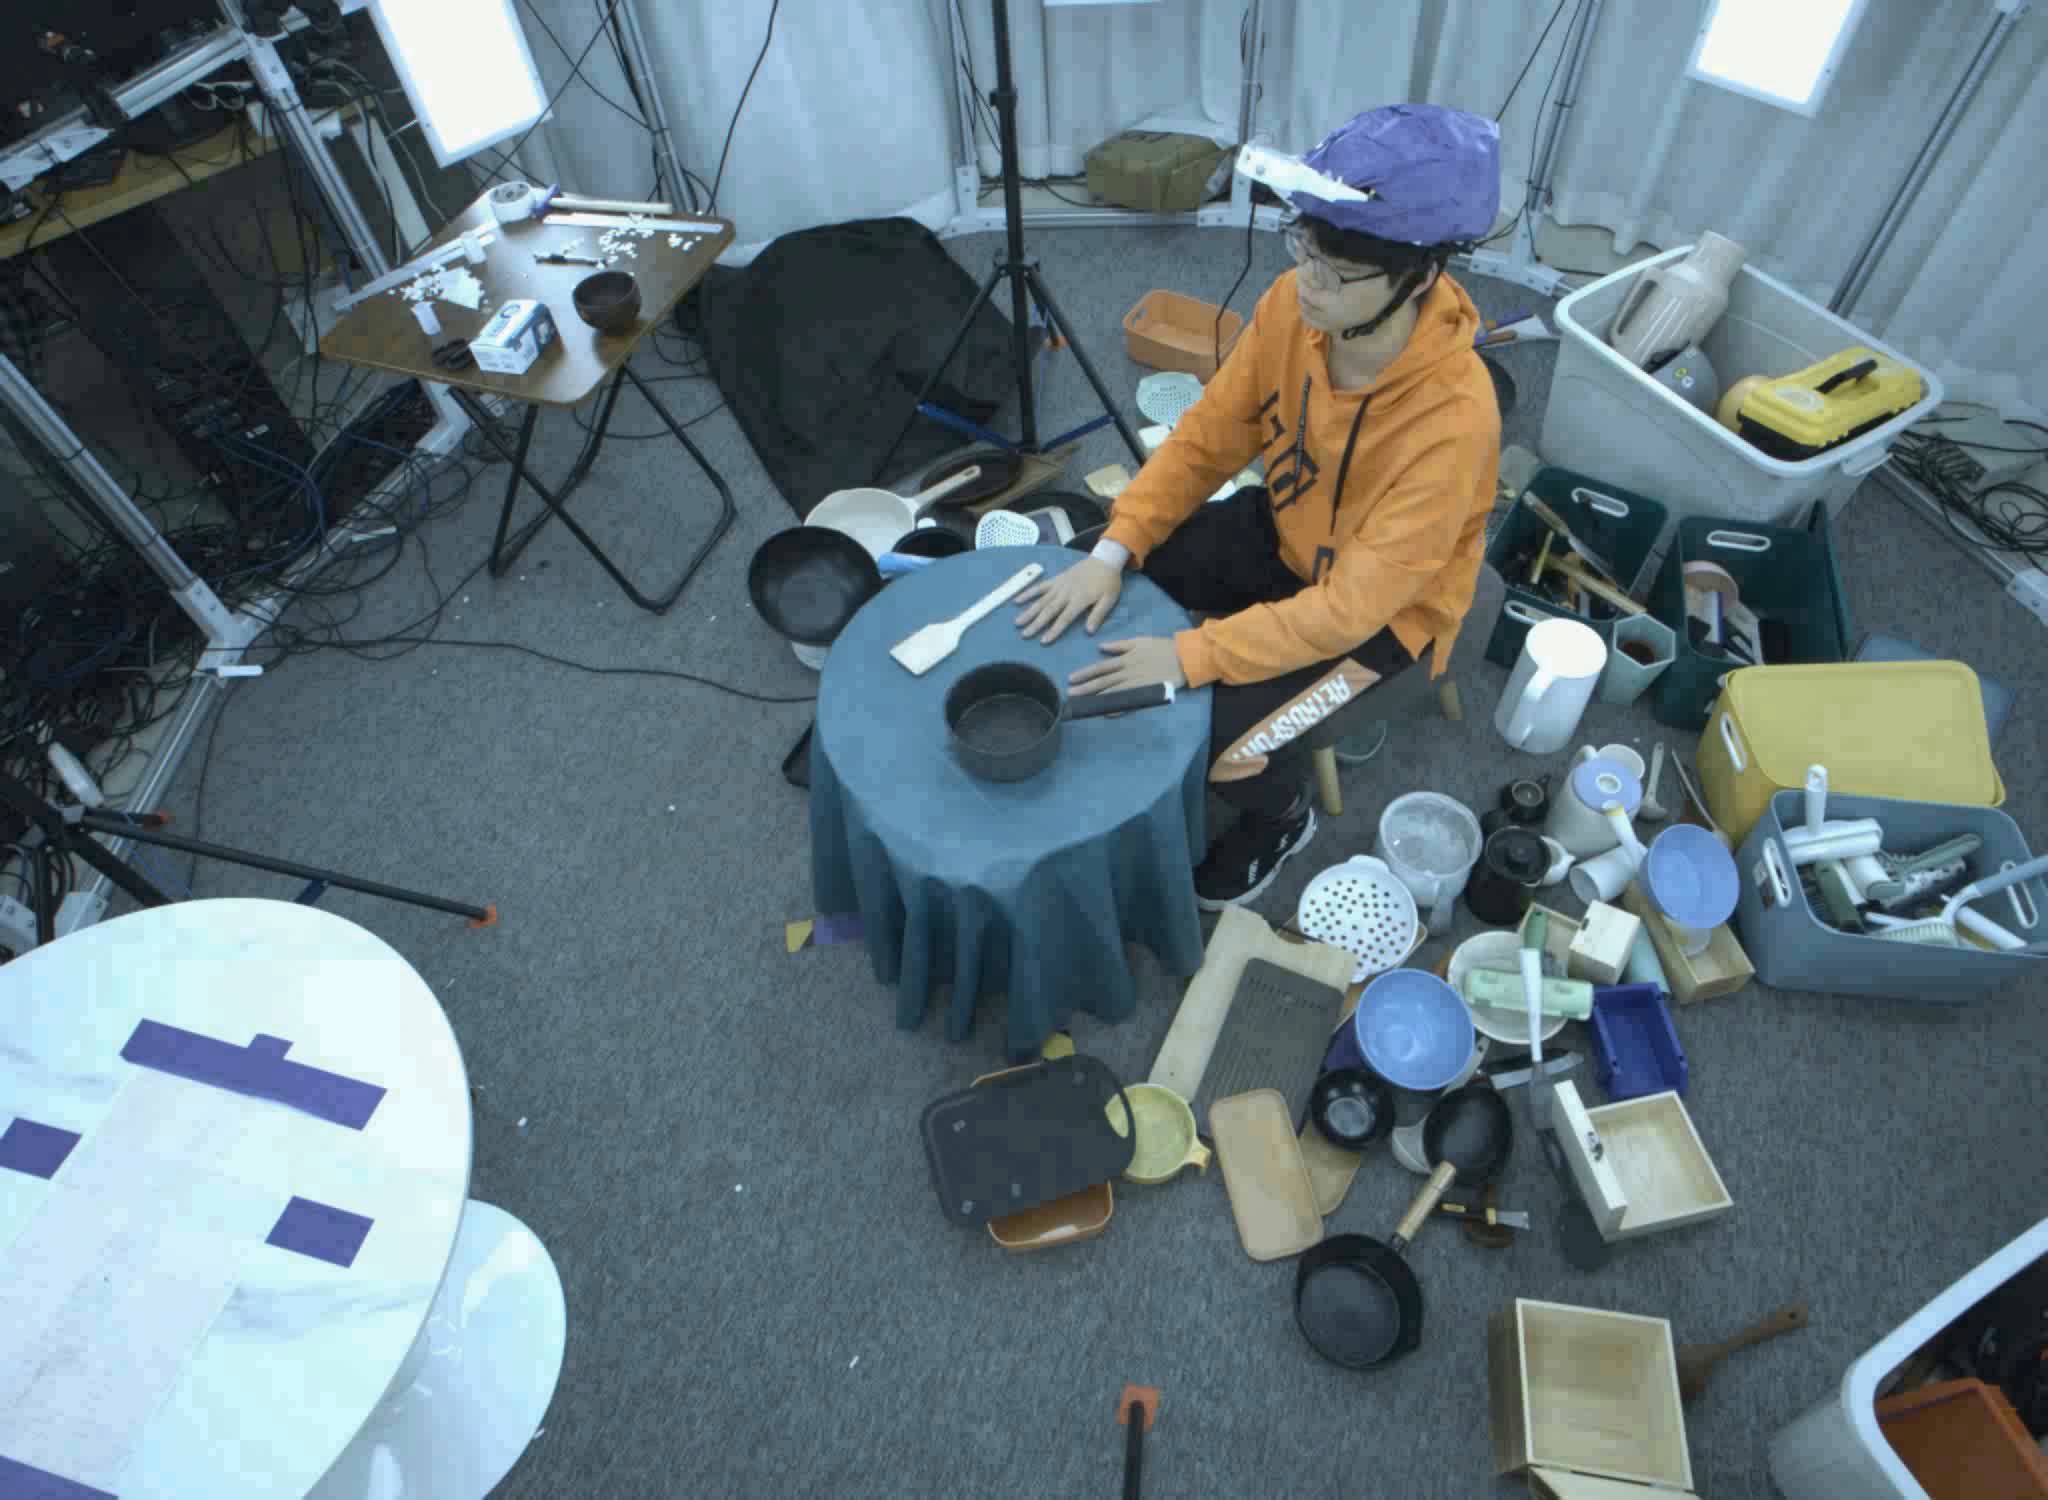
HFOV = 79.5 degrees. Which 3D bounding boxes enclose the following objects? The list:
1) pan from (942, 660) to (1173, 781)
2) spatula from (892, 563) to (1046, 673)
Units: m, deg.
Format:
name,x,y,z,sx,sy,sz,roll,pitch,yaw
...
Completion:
name,x,y,z,sx,sy,sz,roll,pitch,yaw
pan,0.050,-0.046,1.766,0.328,0.087,0.170,-3,55,2
spatula,-0.079,-0.217,1.938,0.295,0.011,0.071,-38,58,-22
